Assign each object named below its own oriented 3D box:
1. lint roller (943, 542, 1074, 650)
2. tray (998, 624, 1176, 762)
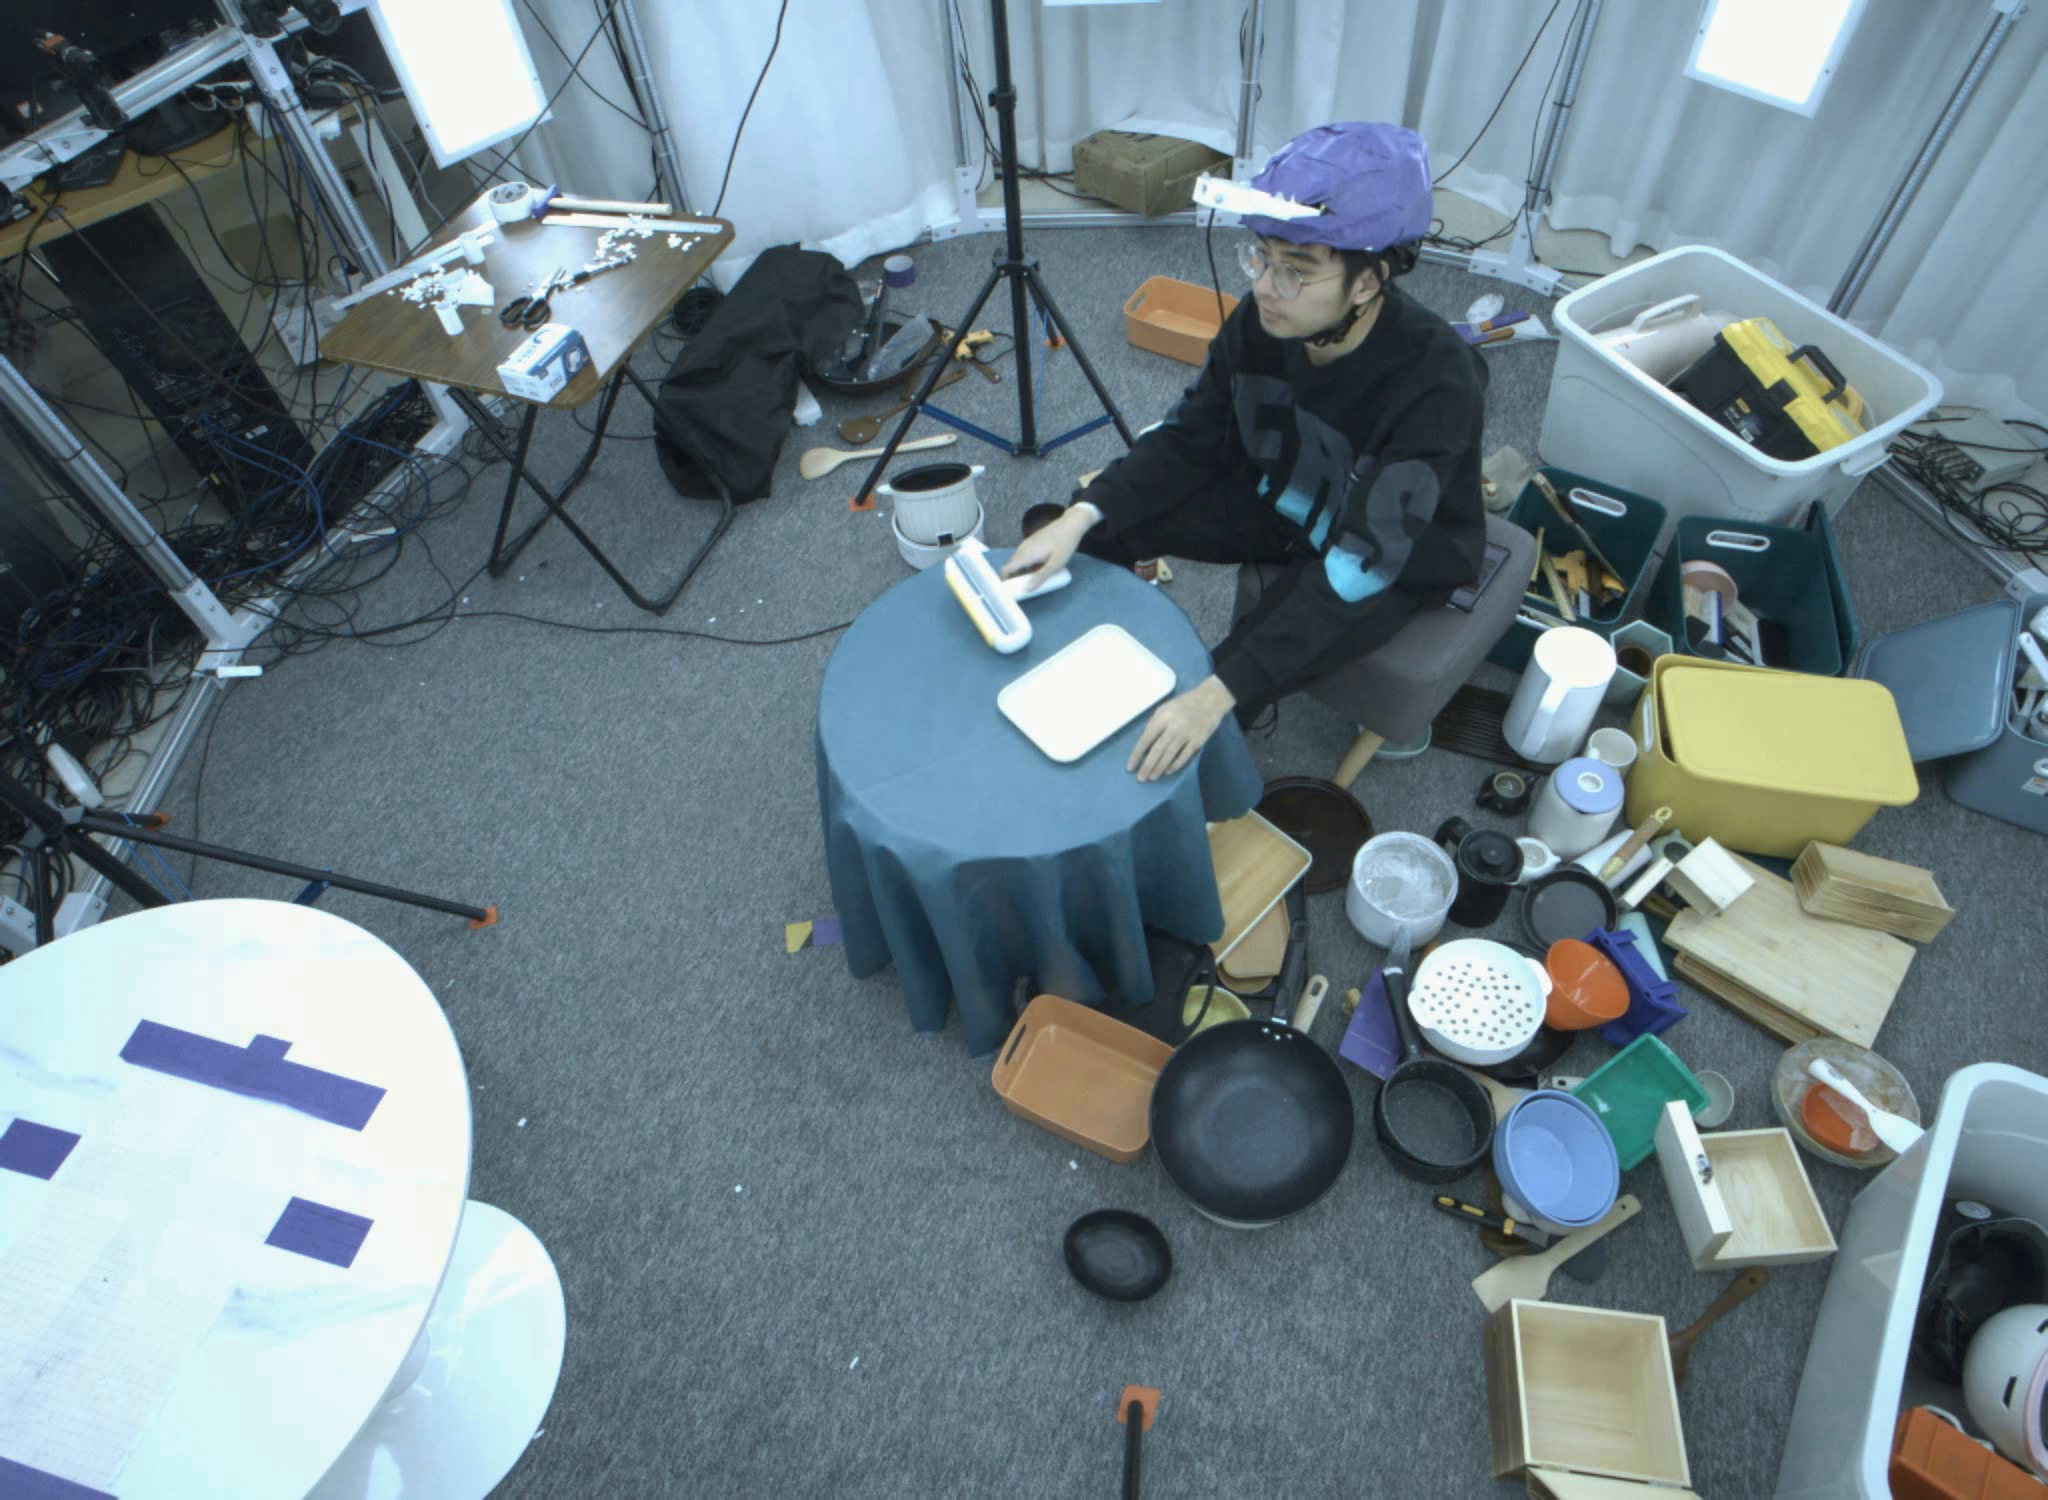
[{"bbox_3d":[-0.009,-0.256,1.924,0.194,0.074,0.190,-24,64,-16],"label":"lint roller"},{"bbox_3d":[0.094,-0.086,1.830,0.241,0.017,0.168,-34,60,-20],"label":"tray"}]
